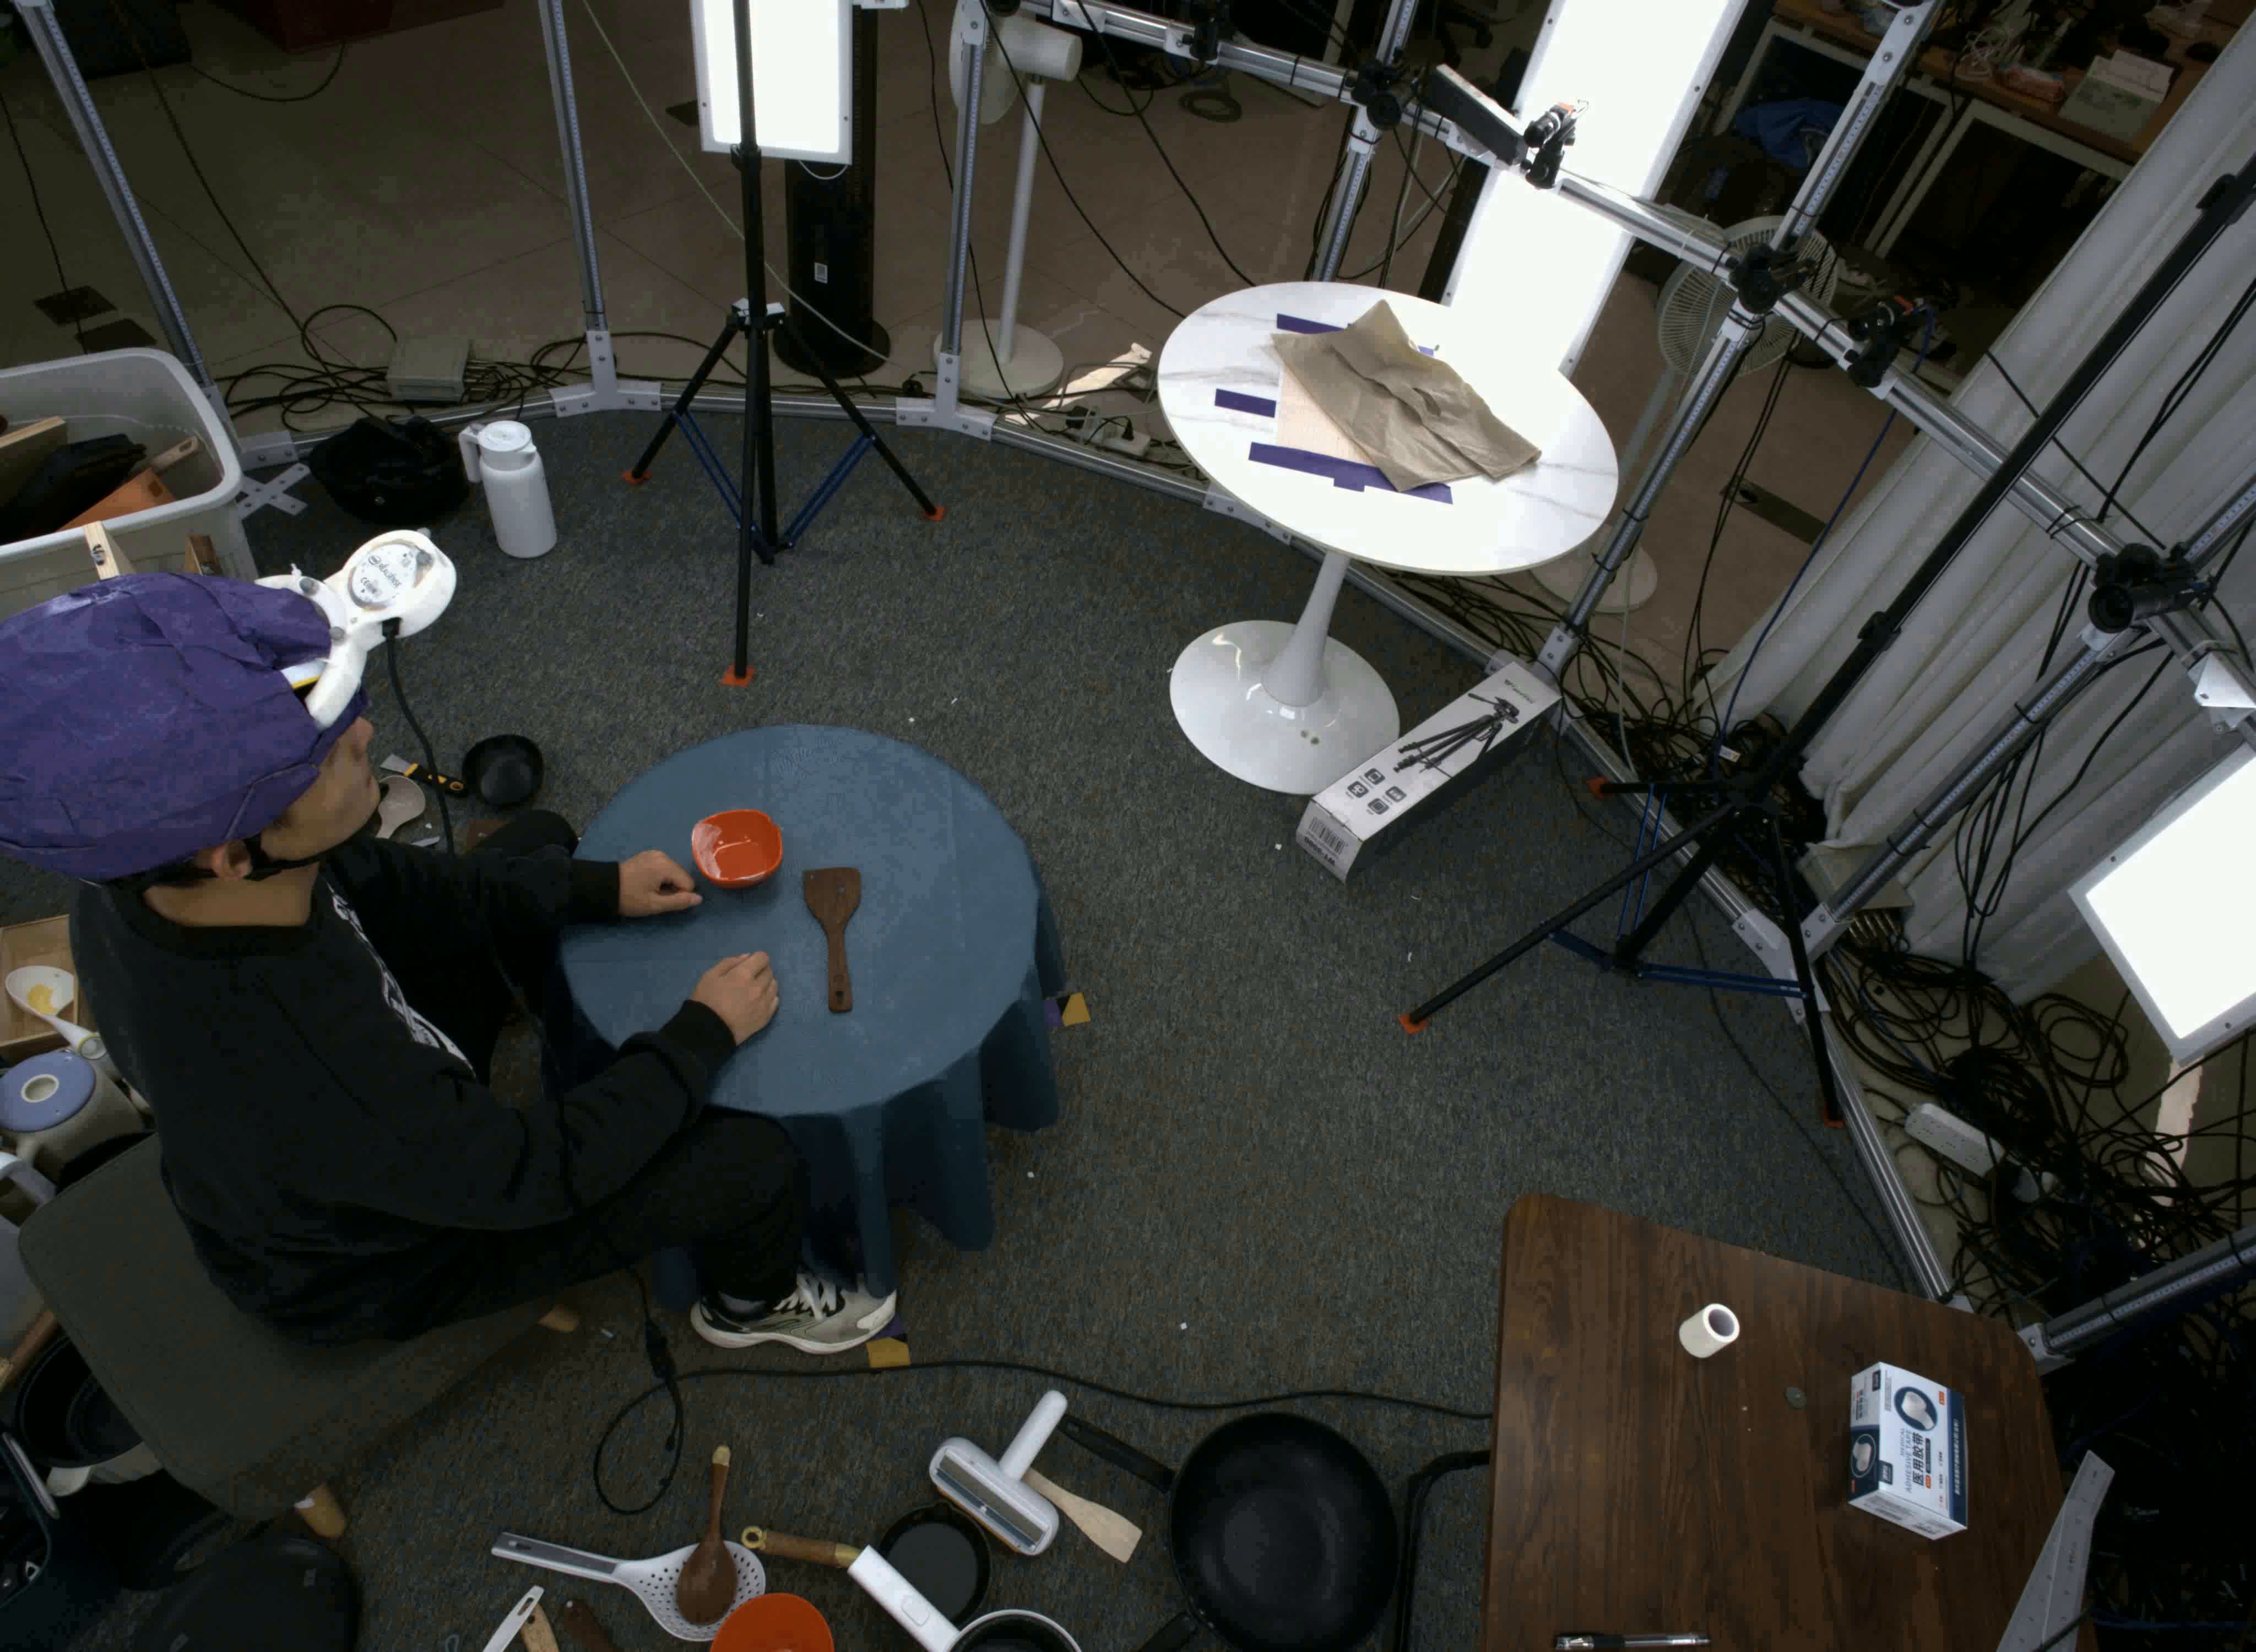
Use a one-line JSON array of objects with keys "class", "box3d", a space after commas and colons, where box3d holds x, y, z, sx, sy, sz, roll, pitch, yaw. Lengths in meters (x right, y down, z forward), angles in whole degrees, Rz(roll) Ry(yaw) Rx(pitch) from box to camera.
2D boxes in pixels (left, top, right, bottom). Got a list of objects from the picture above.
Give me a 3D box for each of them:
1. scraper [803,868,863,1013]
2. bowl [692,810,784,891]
[{"class": "scraper", "box3d": [-0.367, 0.140, 1.634, 0.076, 0.011, 0.206, -3, 55, -16]}, {"class": "bowl", "box3d": [-0.497, 0.038, 1.651, 0.119, 0.052, 0.117, 8, 52, -9]}]
